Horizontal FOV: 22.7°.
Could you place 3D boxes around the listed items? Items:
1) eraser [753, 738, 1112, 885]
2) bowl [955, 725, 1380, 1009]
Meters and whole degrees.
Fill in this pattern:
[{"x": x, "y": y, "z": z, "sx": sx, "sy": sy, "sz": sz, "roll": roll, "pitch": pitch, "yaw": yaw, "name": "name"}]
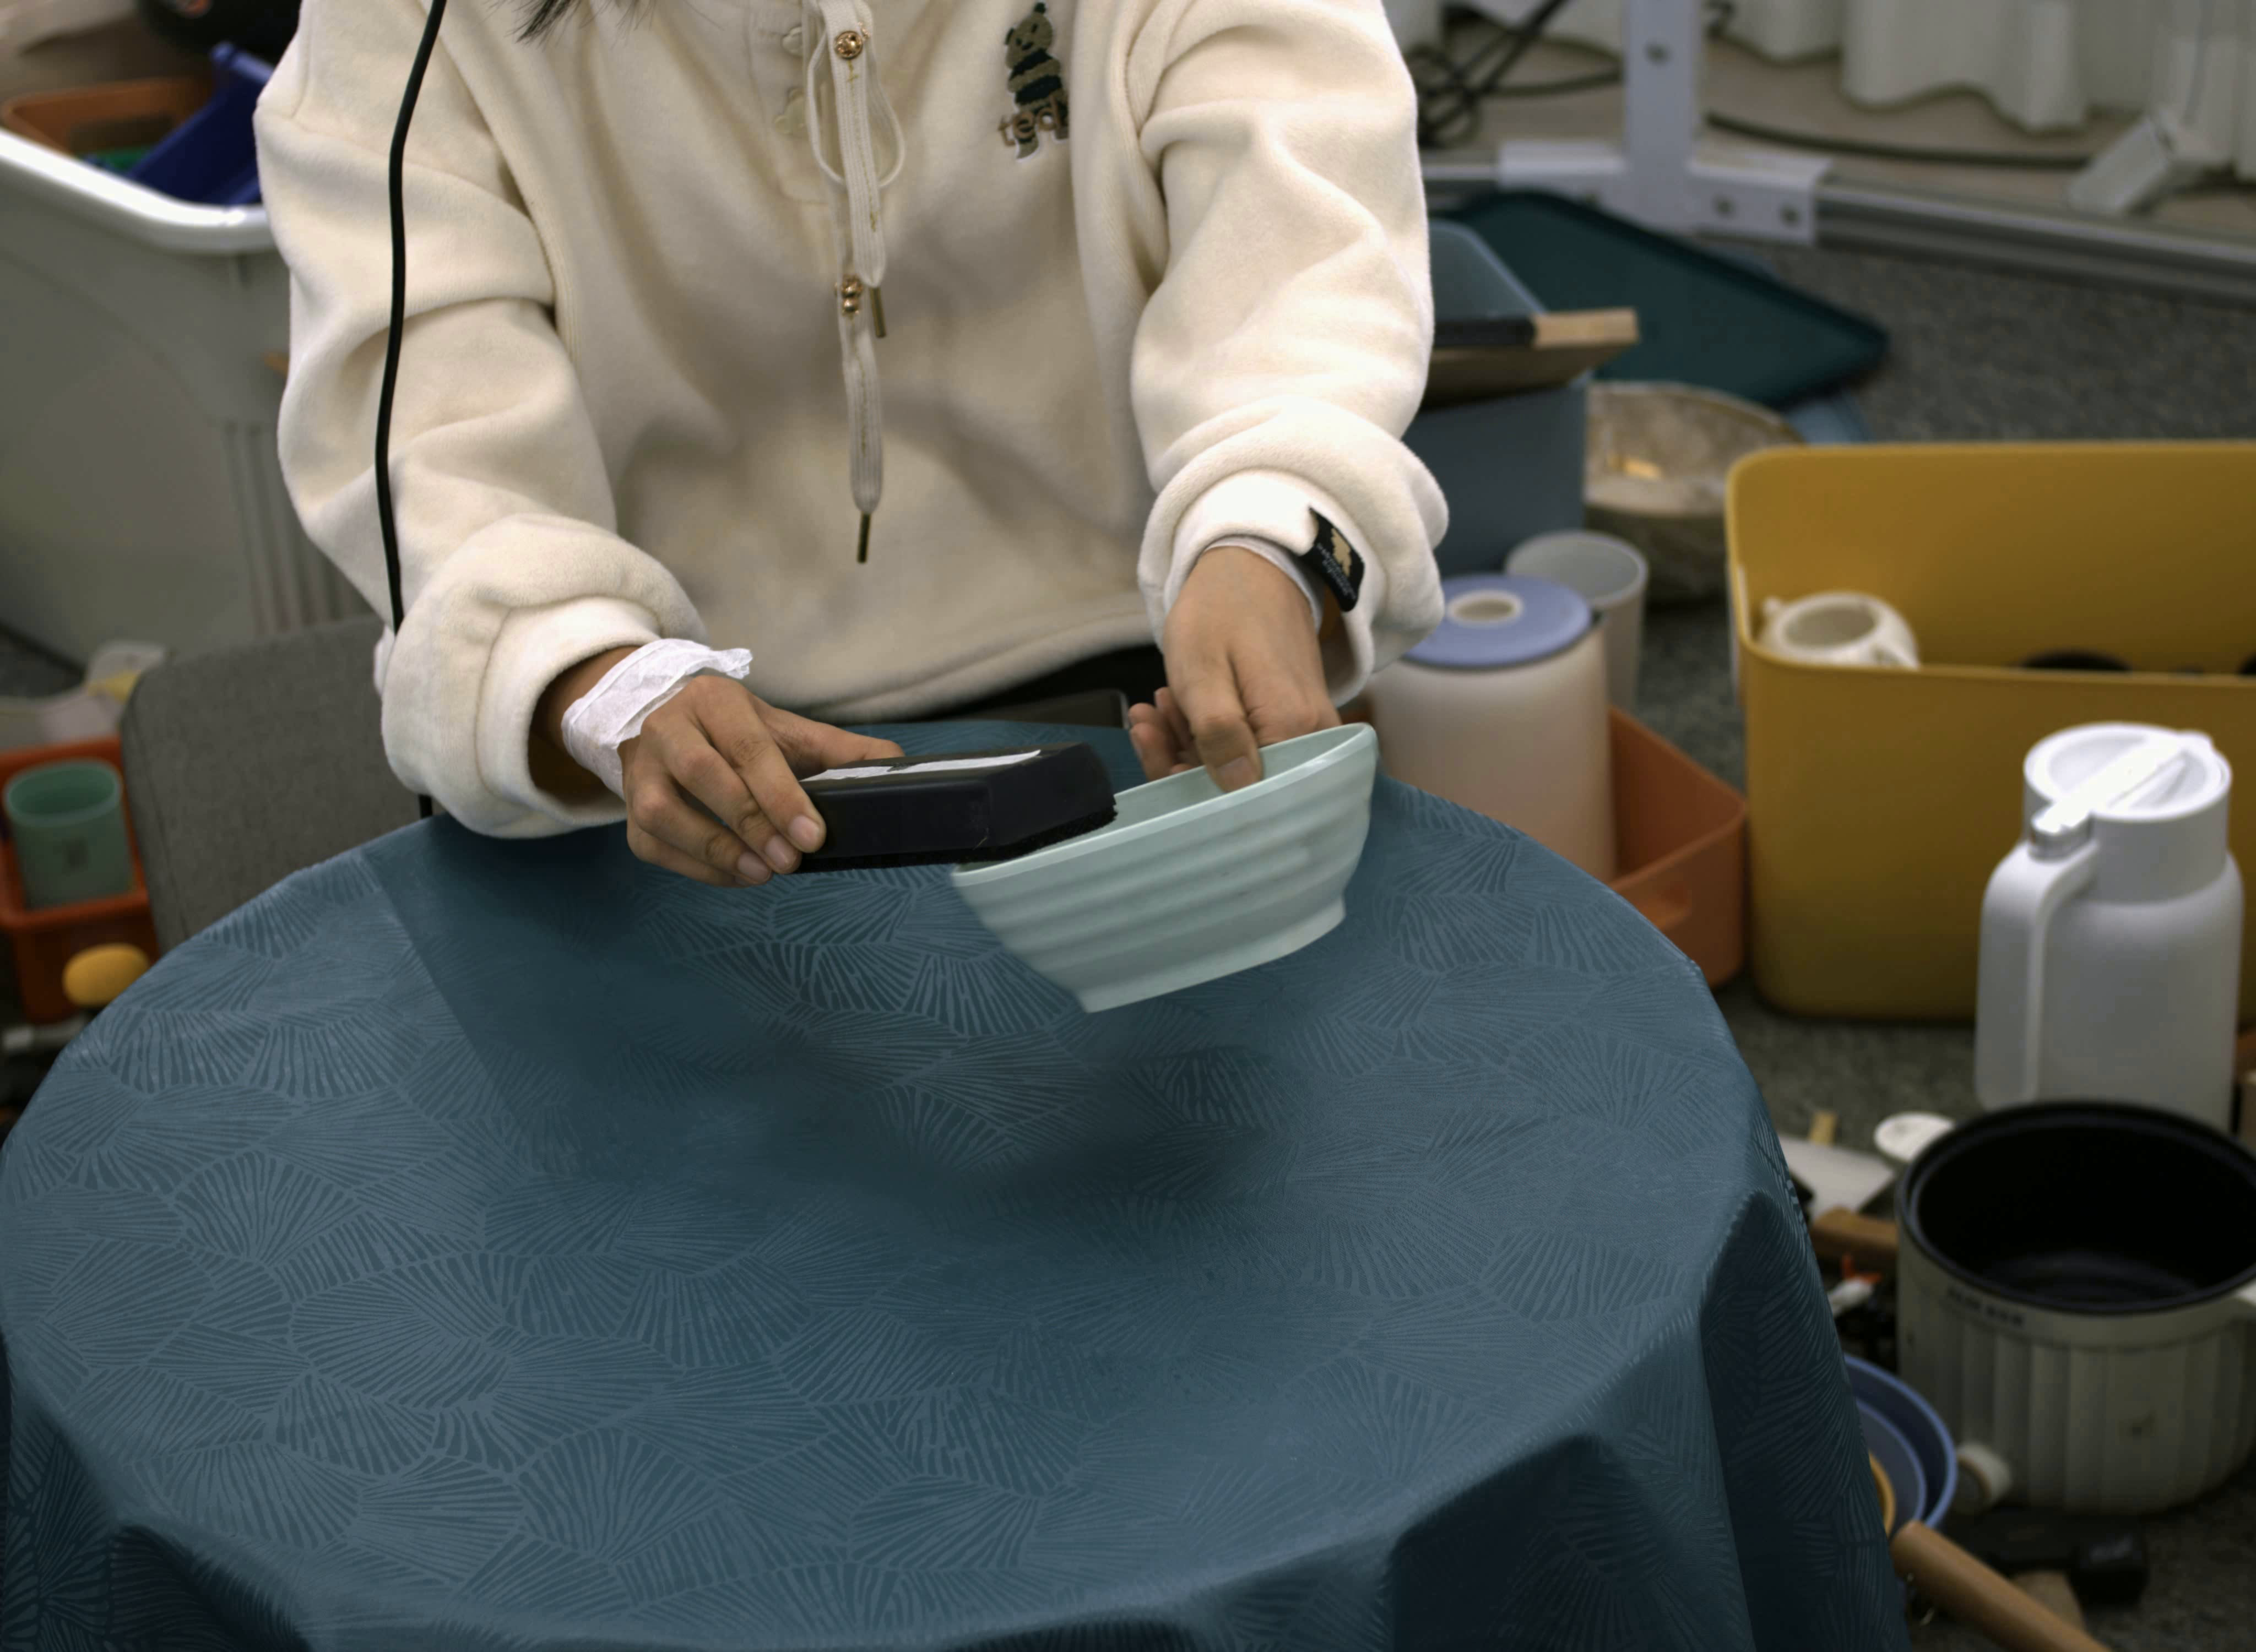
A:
[{"x": -0.064, "y": -0.005, "z": 1.860, "sx": 0.124, "sy": 0.030, "sz": 0.054, "roll": -9, "pitch": 7, "yaw": 46, "name": "eraser"}, {"x": 0.020, "y": 0.017, "z": 1.820, "sx": 0.151, "sy": 0.058, "sz": 0.152, "roll": -16, "pitch": 6, "yaw": 2, "name": "bowl"}]
